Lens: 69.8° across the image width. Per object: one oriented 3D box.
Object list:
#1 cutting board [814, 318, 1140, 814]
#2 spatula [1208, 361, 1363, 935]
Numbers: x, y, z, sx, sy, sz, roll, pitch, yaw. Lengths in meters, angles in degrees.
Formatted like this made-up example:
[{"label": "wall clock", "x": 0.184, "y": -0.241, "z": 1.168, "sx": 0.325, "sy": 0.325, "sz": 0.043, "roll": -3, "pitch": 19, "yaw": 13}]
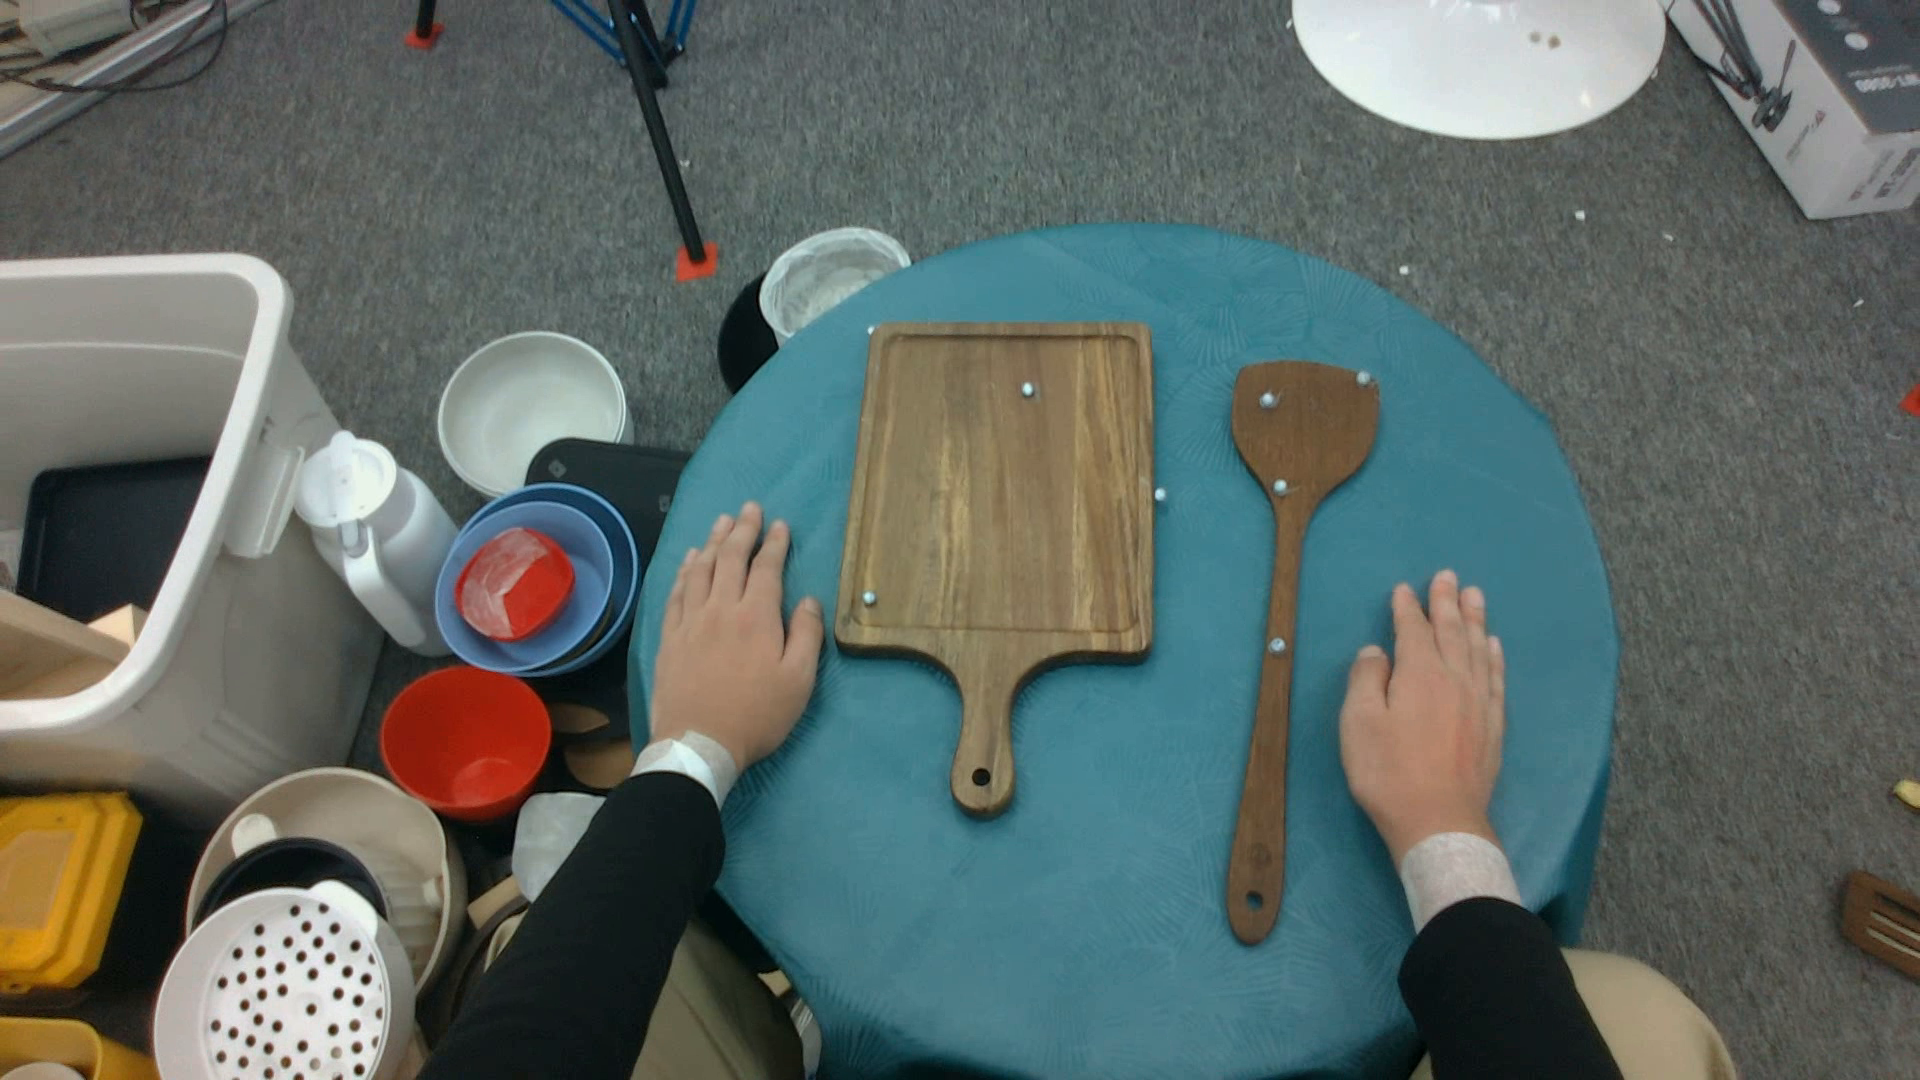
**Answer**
[{"label": "cutting board", "x": 0.012, "y": 0.001, "z": 0.870, "sx": 0.201, "sy": 0.023, "sz": 0.353, "roll": 1, "pitch": 59, "yaw": 5}, {"label": "spatula", "x": 0.185, "y": 0.046, "z": 0.834, "sx": 0.096, "sy": 0.016, "sz": 0.387, "roll": 8, "pitch": 60, "yaw": 9}]
